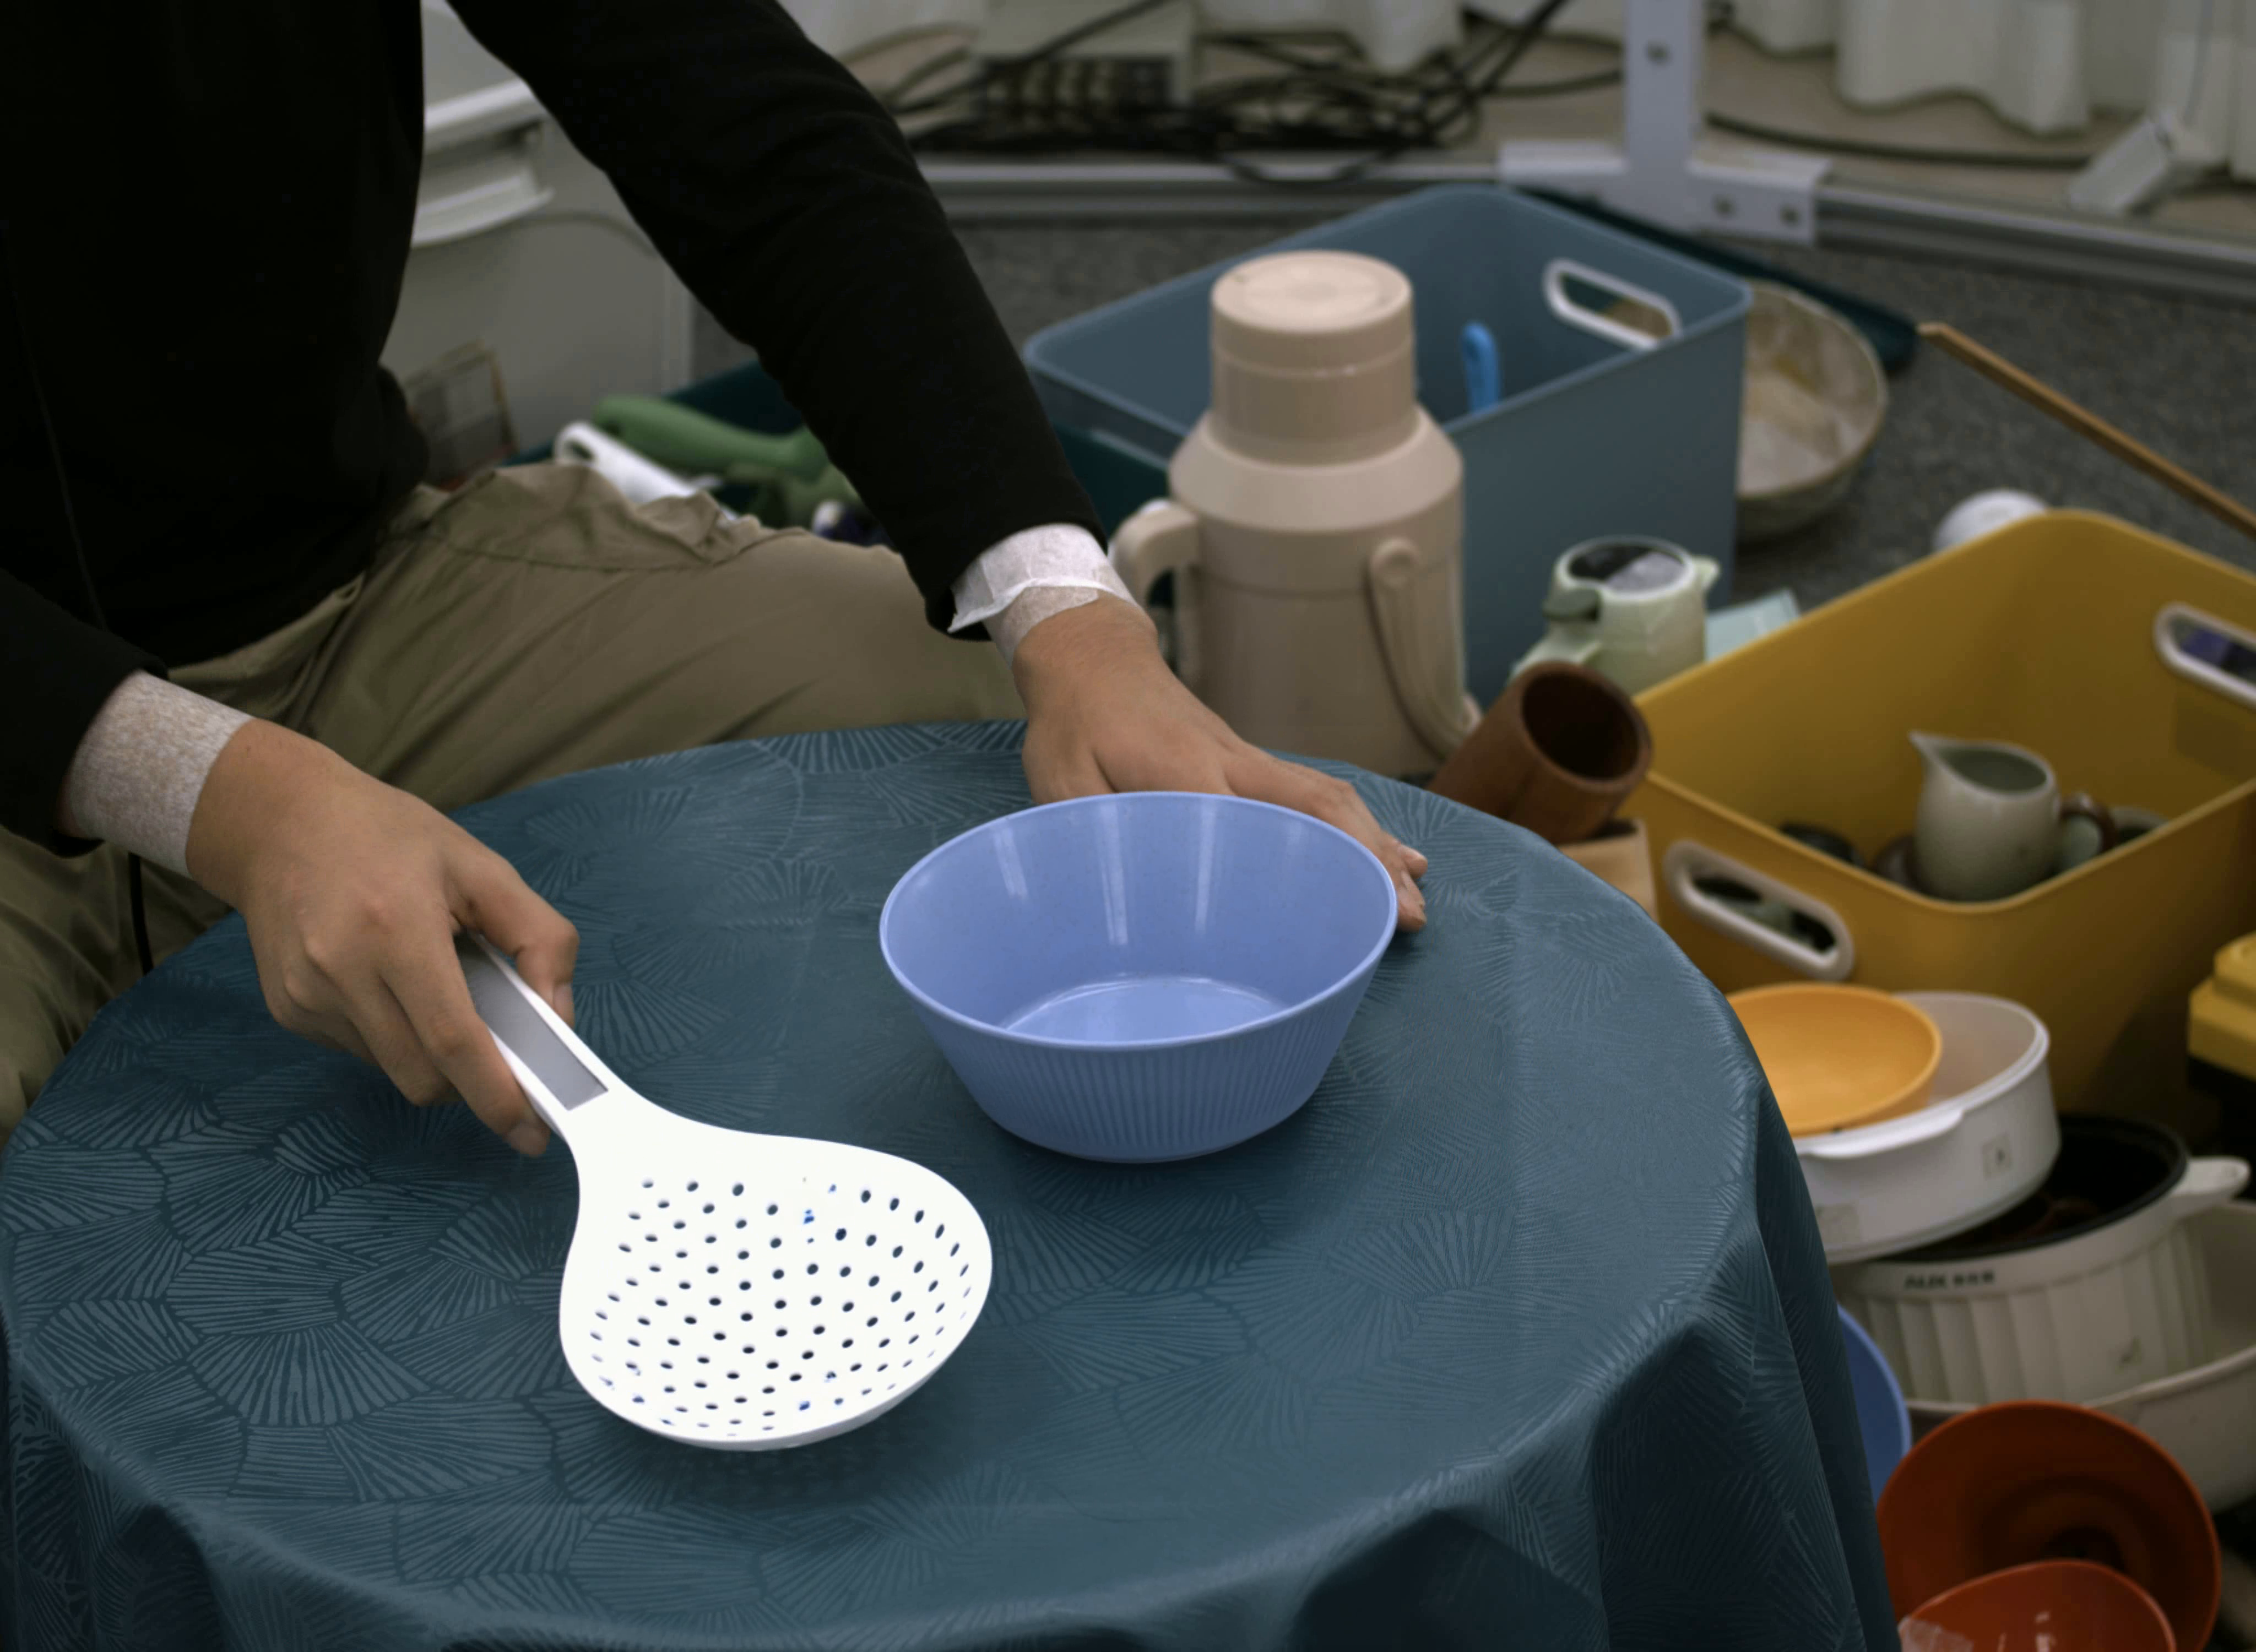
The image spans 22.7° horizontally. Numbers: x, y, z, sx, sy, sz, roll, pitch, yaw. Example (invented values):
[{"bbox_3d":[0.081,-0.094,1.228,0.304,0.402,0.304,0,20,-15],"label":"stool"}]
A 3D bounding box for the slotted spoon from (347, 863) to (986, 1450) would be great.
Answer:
[{"bbox_3d":[-0.168,0.101,1.825,0.137,0.045,0.352,-27,44,-21],"label":"slotted spoon"}]

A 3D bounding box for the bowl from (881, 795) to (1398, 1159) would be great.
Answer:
[{"bbox_3d":[0.005,0.057,1.910,0.175,0.069,0.178,-2,26,2],"label":"bowl"}]
